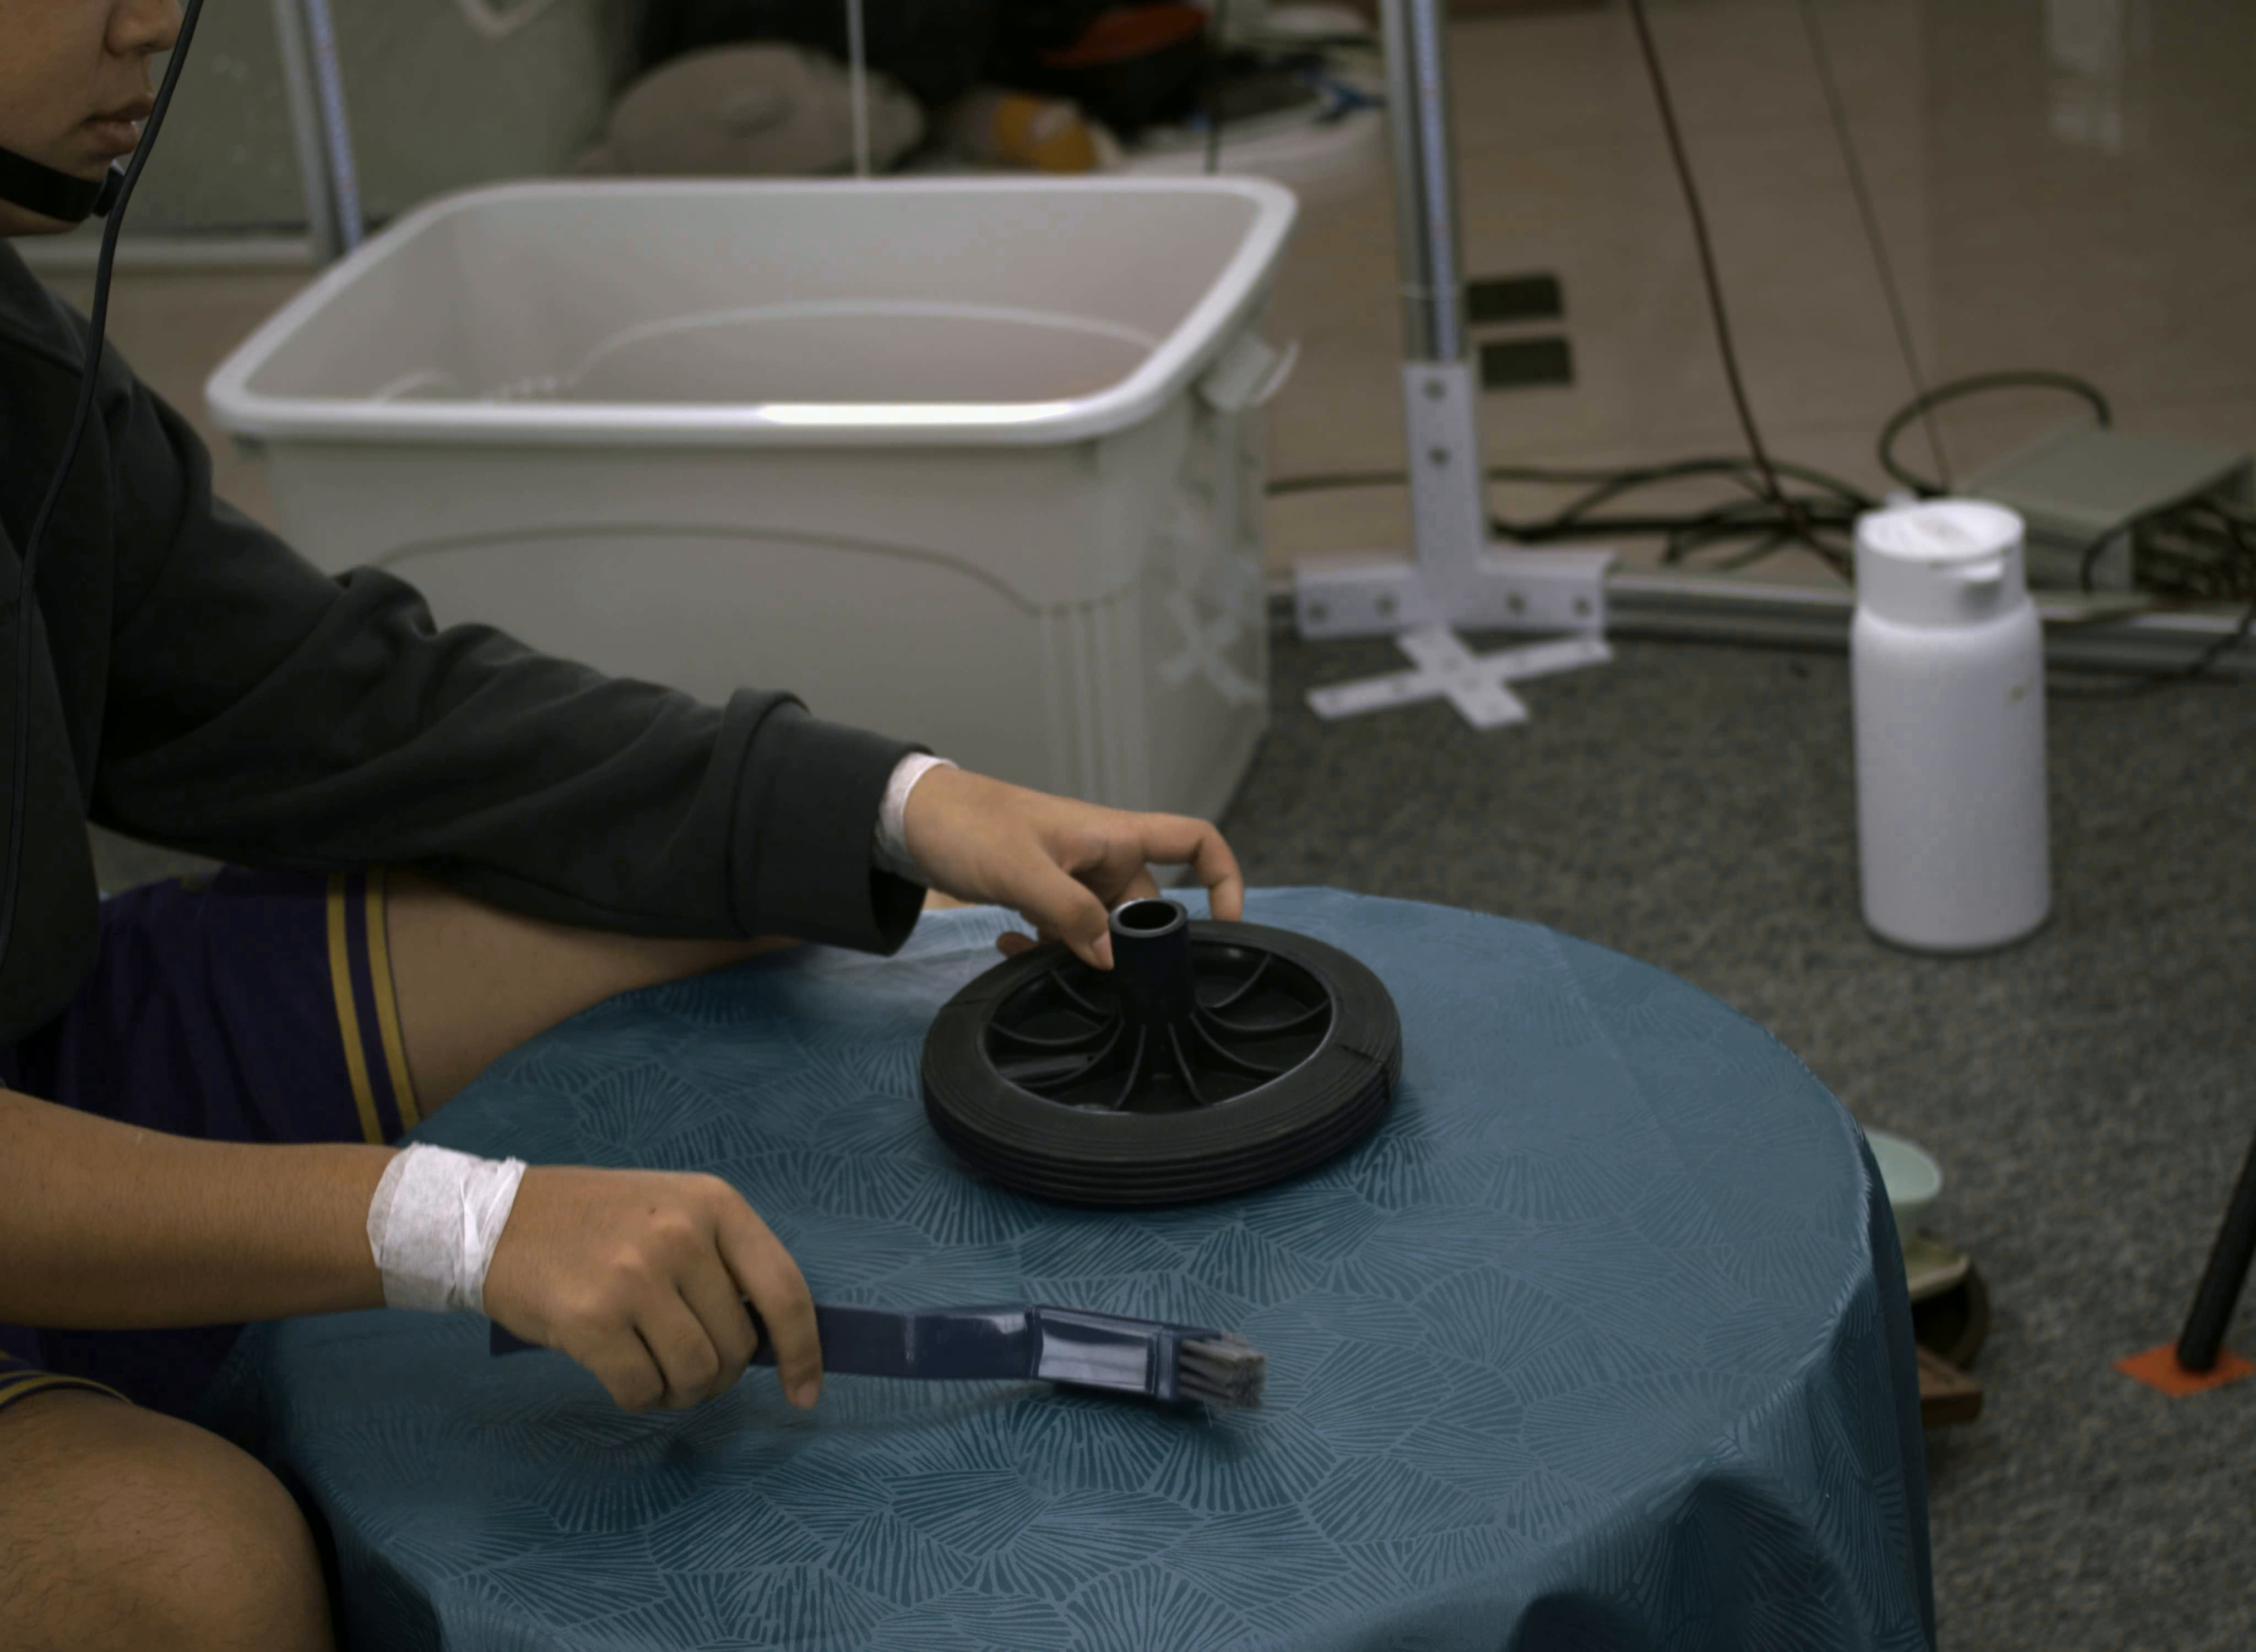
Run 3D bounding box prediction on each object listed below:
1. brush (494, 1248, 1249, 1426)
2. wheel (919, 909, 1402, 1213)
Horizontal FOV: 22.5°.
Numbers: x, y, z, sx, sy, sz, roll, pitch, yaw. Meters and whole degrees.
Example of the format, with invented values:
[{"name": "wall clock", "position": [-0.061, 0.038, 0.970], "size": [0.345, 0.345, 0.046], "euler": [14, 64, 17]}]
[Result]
[{"name": "brush", "position": [-0.093, 0.180, 2.004], "size": [0.273, 0.034, 0.095], "euler": [3, 9, 2]}, {"name": "wheel", "position": [0.010, 0.074, 2.192], "size": [0.188, 0.080, 0.185], "euler": [-22, 33, -26]}]
